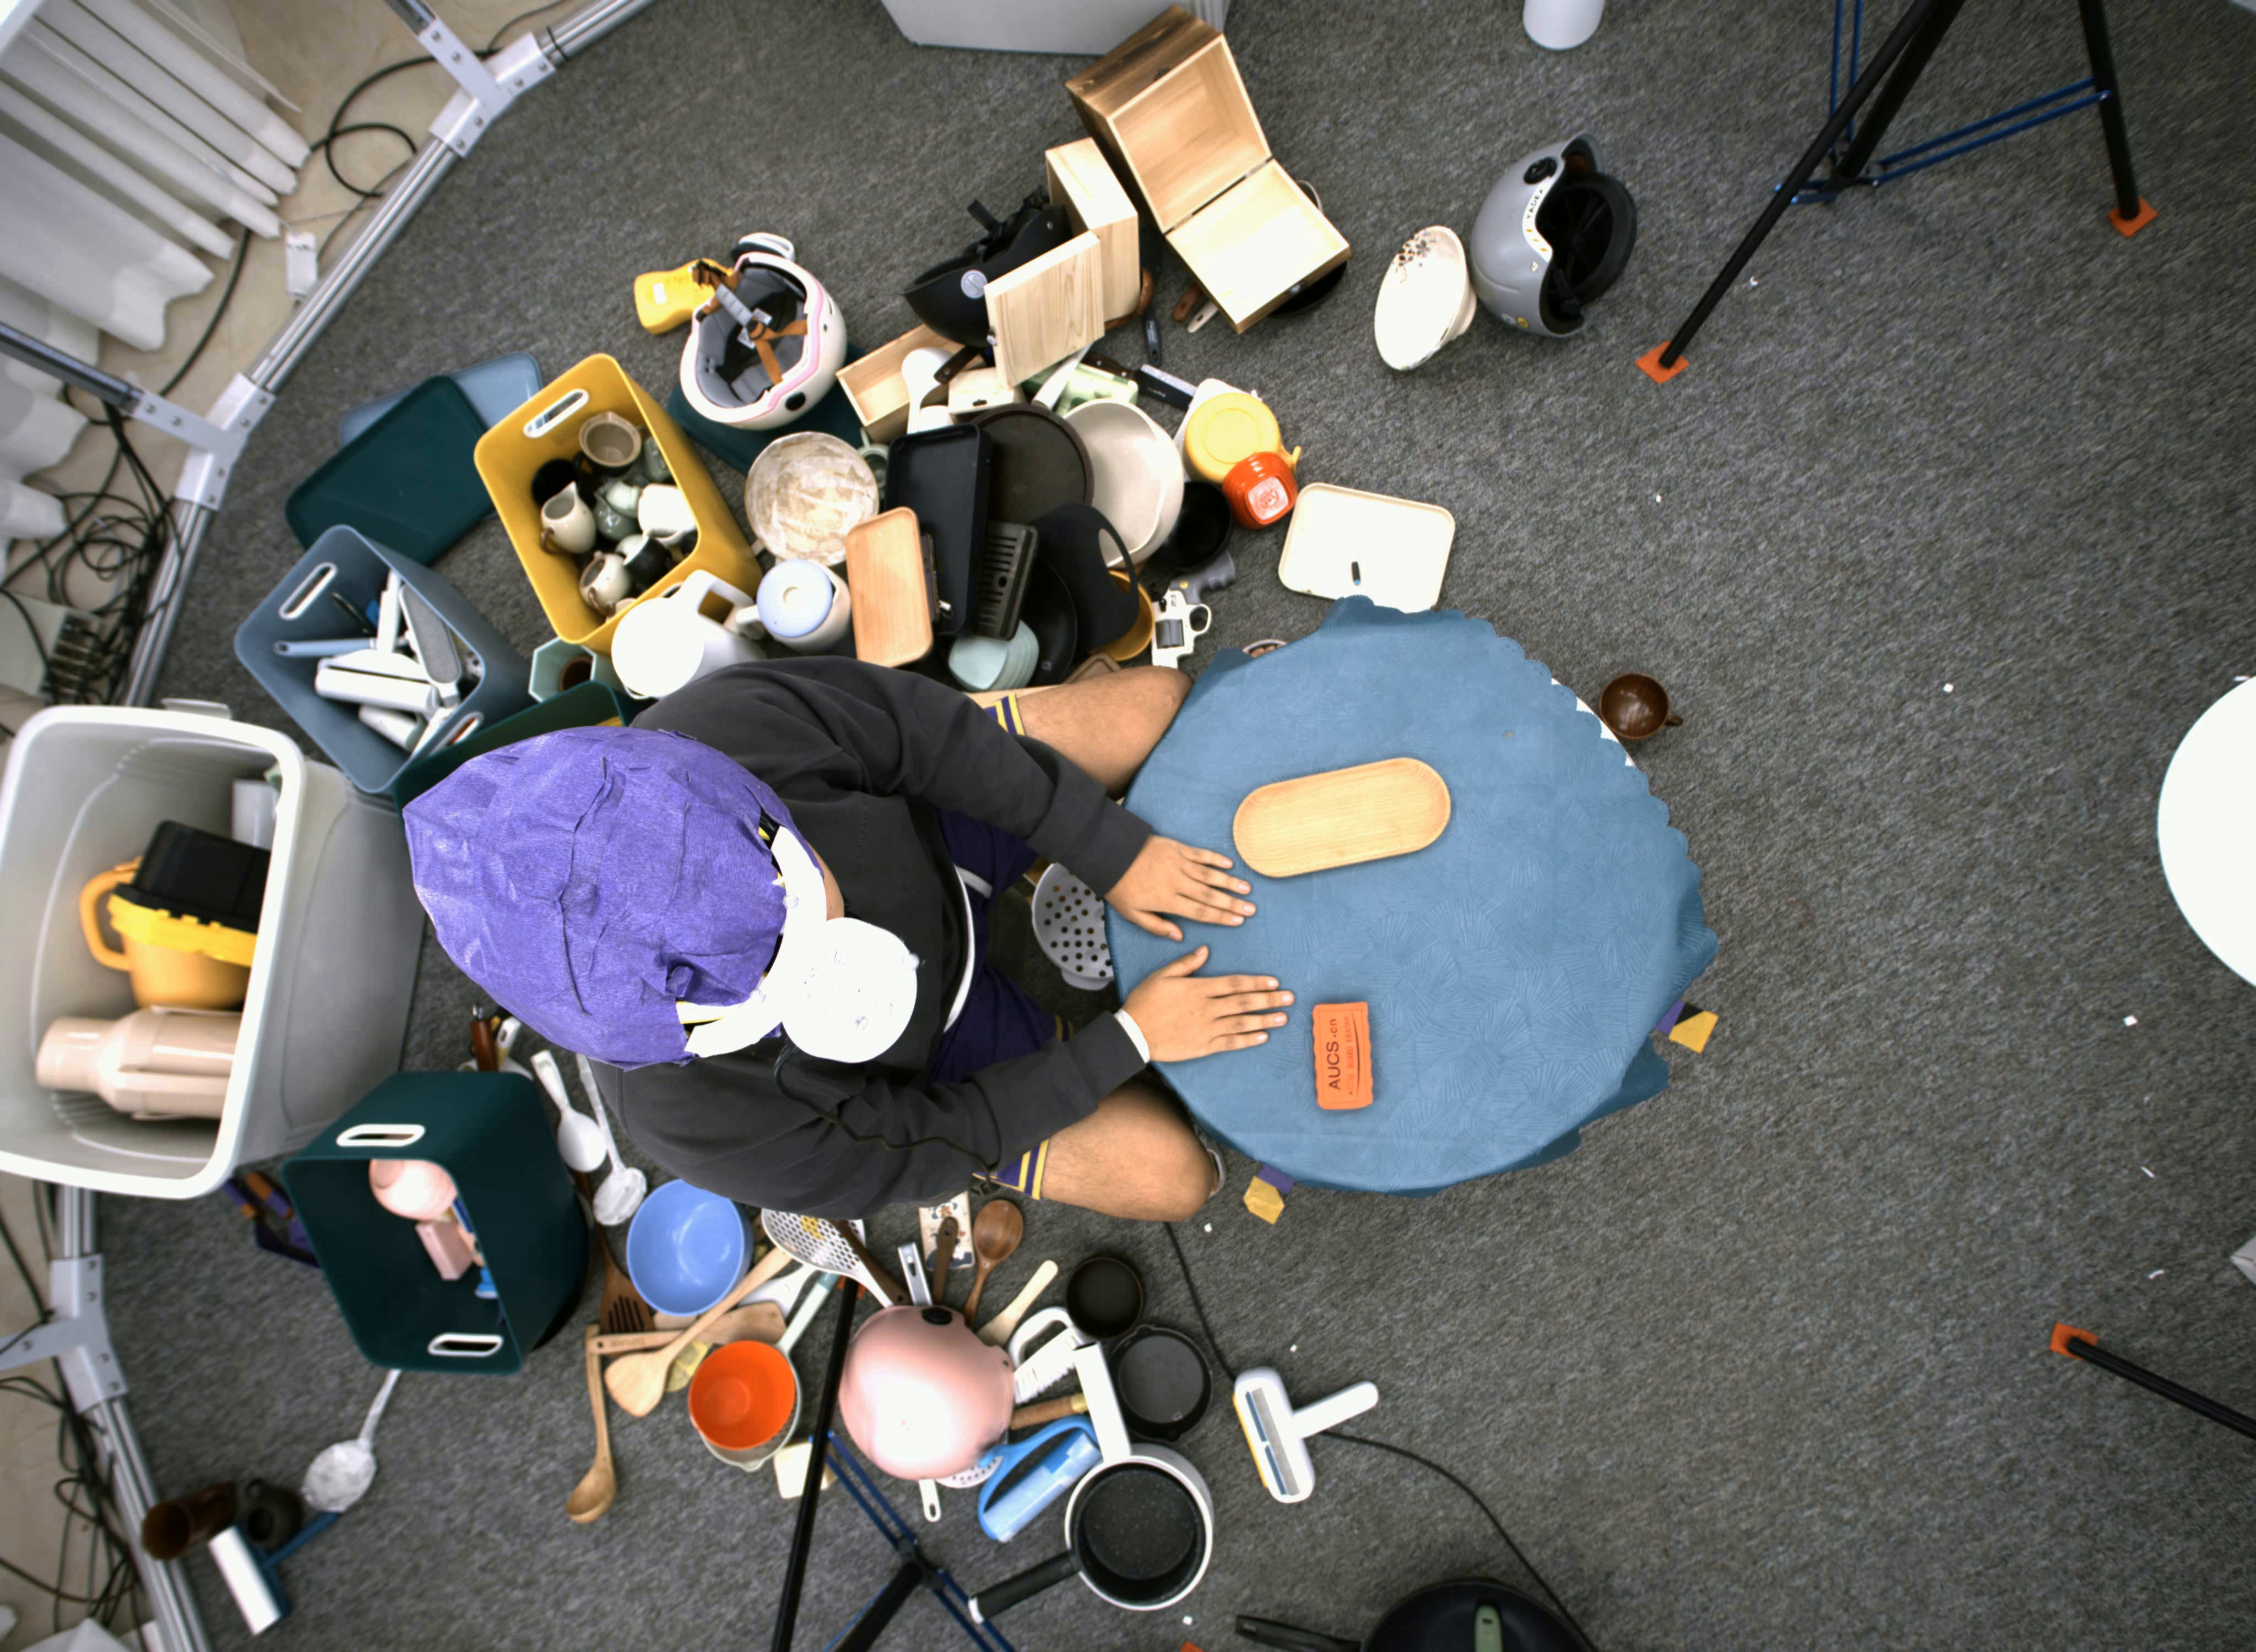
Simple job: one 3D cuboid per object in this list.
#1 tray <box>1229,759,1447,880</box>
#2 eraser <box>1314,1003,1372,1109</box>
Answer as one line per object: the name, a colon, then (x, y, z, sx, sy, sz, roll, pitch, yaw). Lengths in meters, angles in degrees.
tray: (0.222, -0.007, 1.464, 0.232, 0.020, 0.101, -13, 83, 11)
eraser: (0.224, 0.238, 1.447, 0.059, 0.023, 0.107, -2, 87, 3)
